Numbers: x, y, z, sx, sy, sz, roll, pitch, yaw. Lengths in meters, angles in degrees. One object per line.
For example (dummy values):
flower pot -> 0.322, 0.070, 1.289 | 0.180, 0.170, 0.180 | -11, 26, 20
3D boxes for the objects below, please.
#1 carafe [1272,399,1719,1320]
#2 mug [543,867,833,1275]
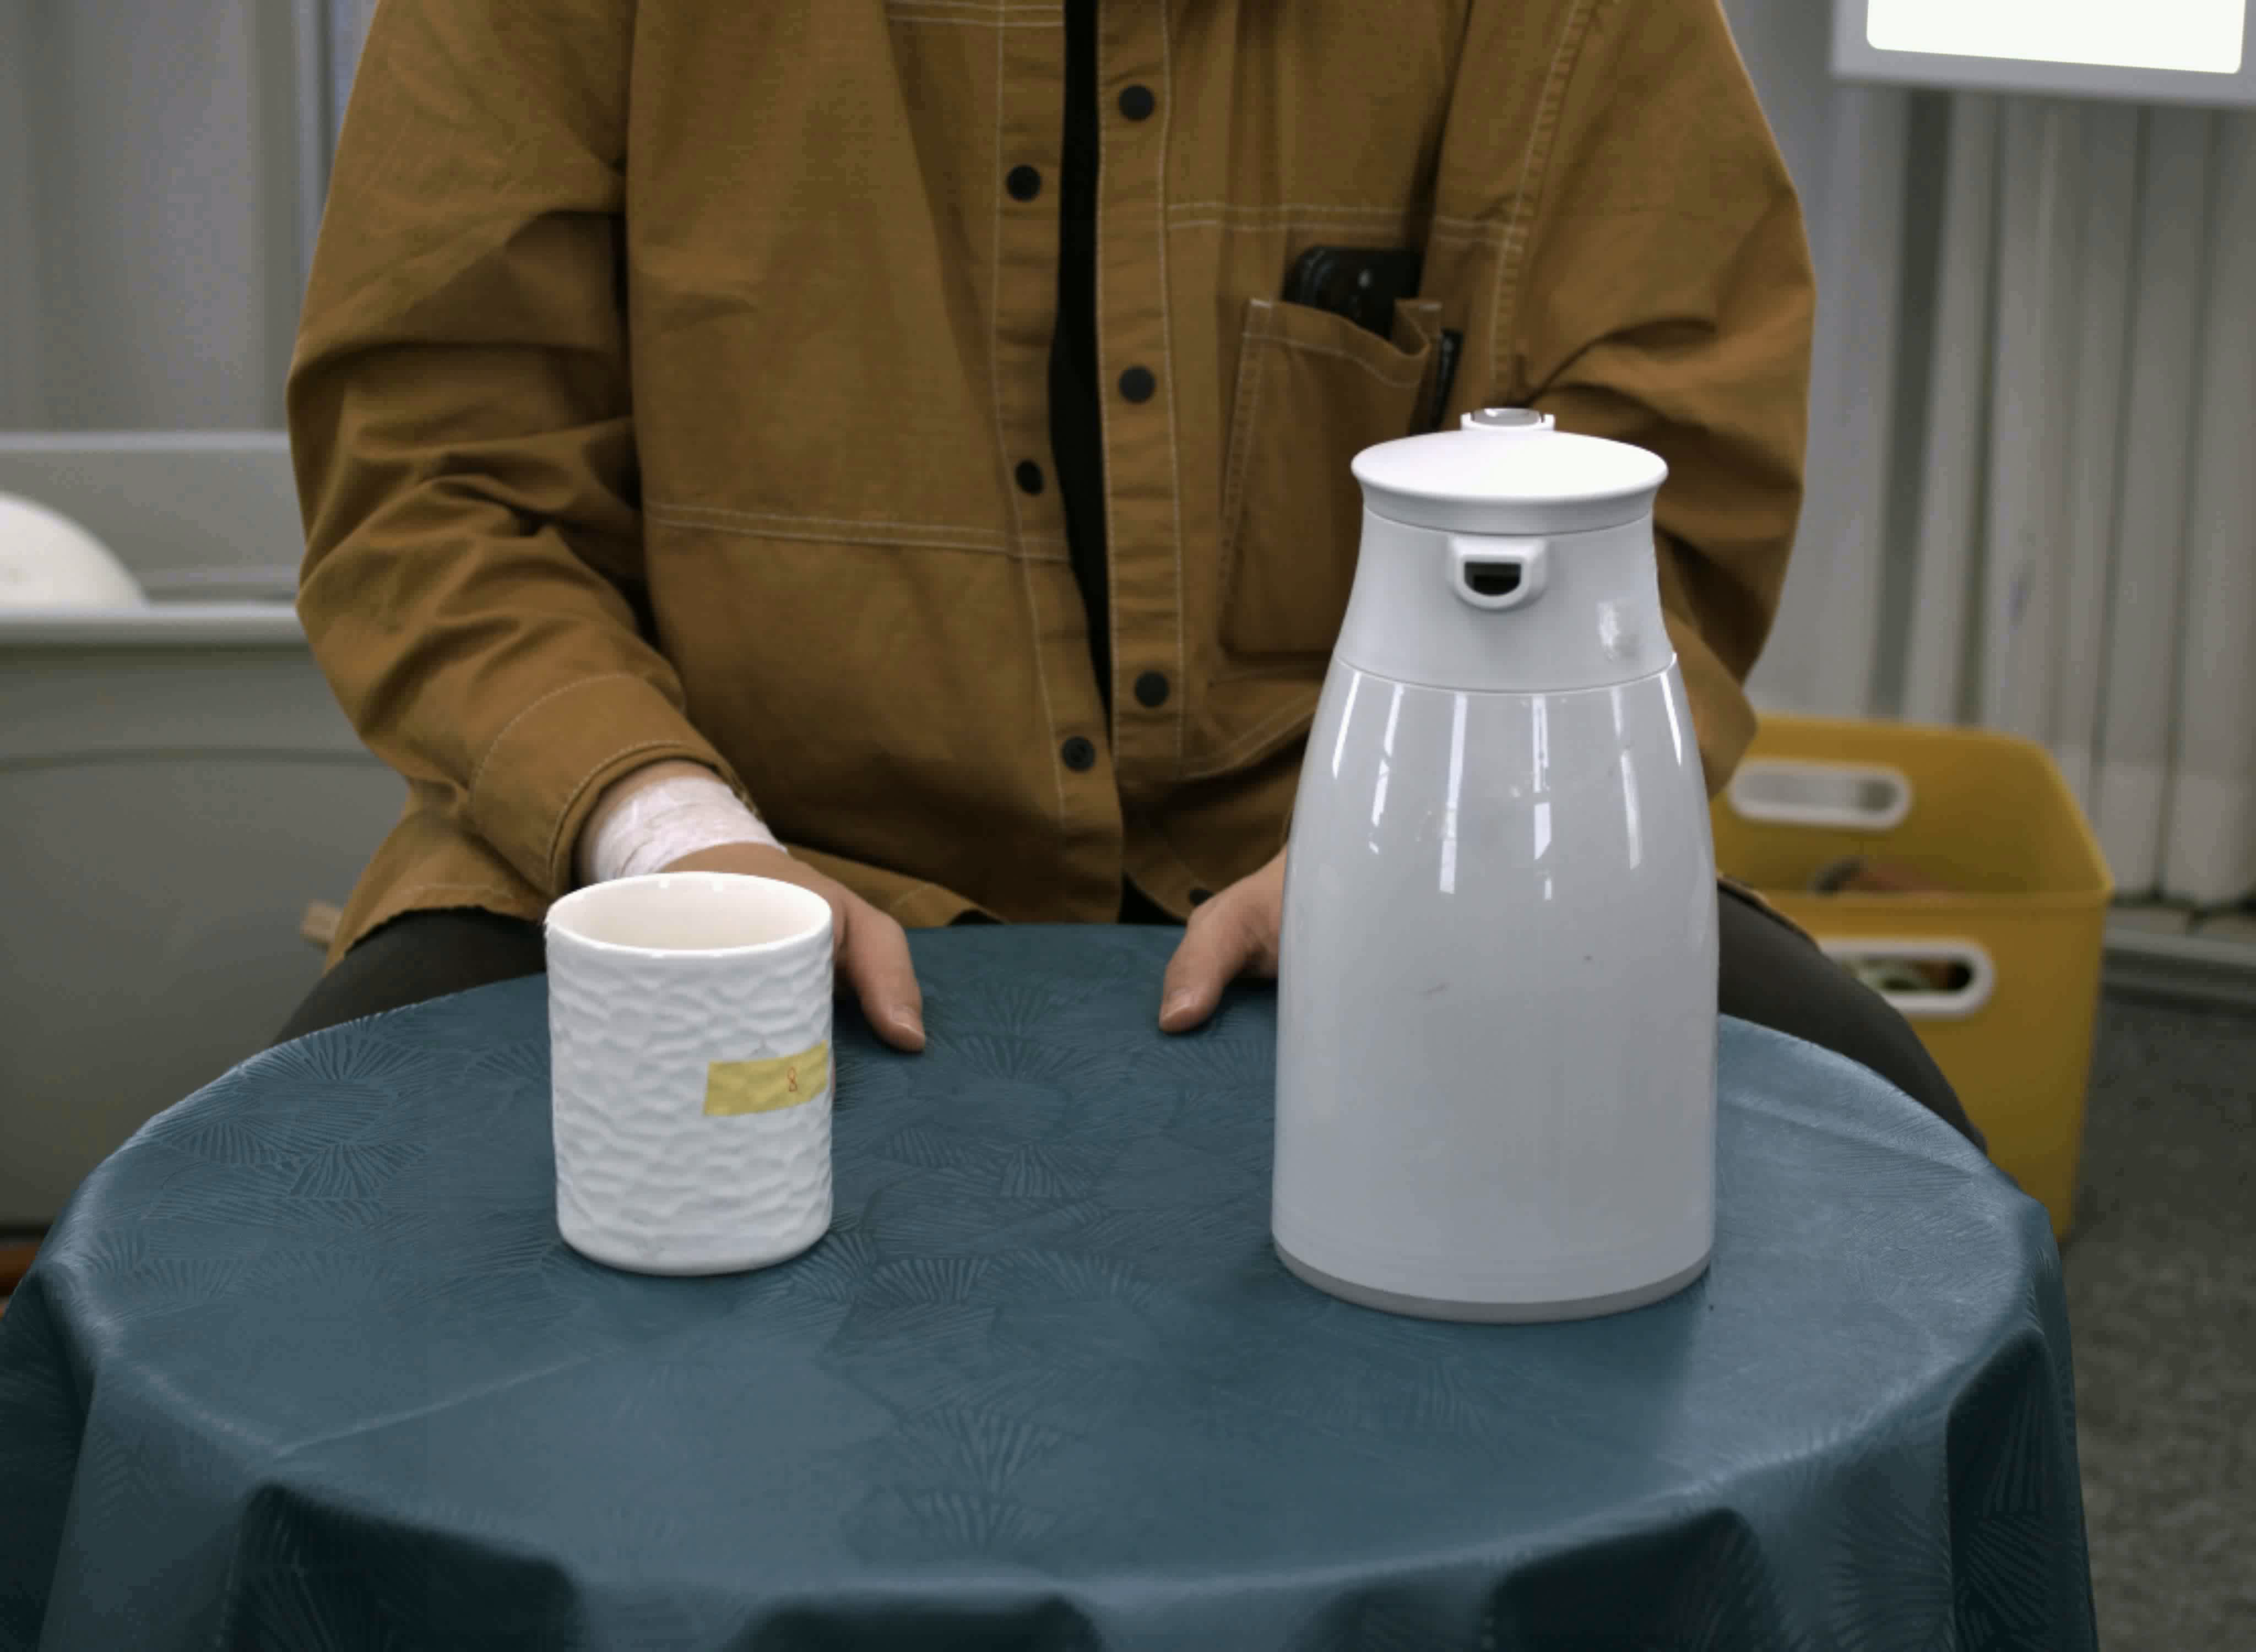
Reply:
carafe -> 0.109, 0.001, 1.560 | 0.132, 0.250, 0.167 | 1, 16, 5
mug -> -0.136, 0.069, 1.581 | 0.085, 0.103, 0.117 | -6, 17, -22
